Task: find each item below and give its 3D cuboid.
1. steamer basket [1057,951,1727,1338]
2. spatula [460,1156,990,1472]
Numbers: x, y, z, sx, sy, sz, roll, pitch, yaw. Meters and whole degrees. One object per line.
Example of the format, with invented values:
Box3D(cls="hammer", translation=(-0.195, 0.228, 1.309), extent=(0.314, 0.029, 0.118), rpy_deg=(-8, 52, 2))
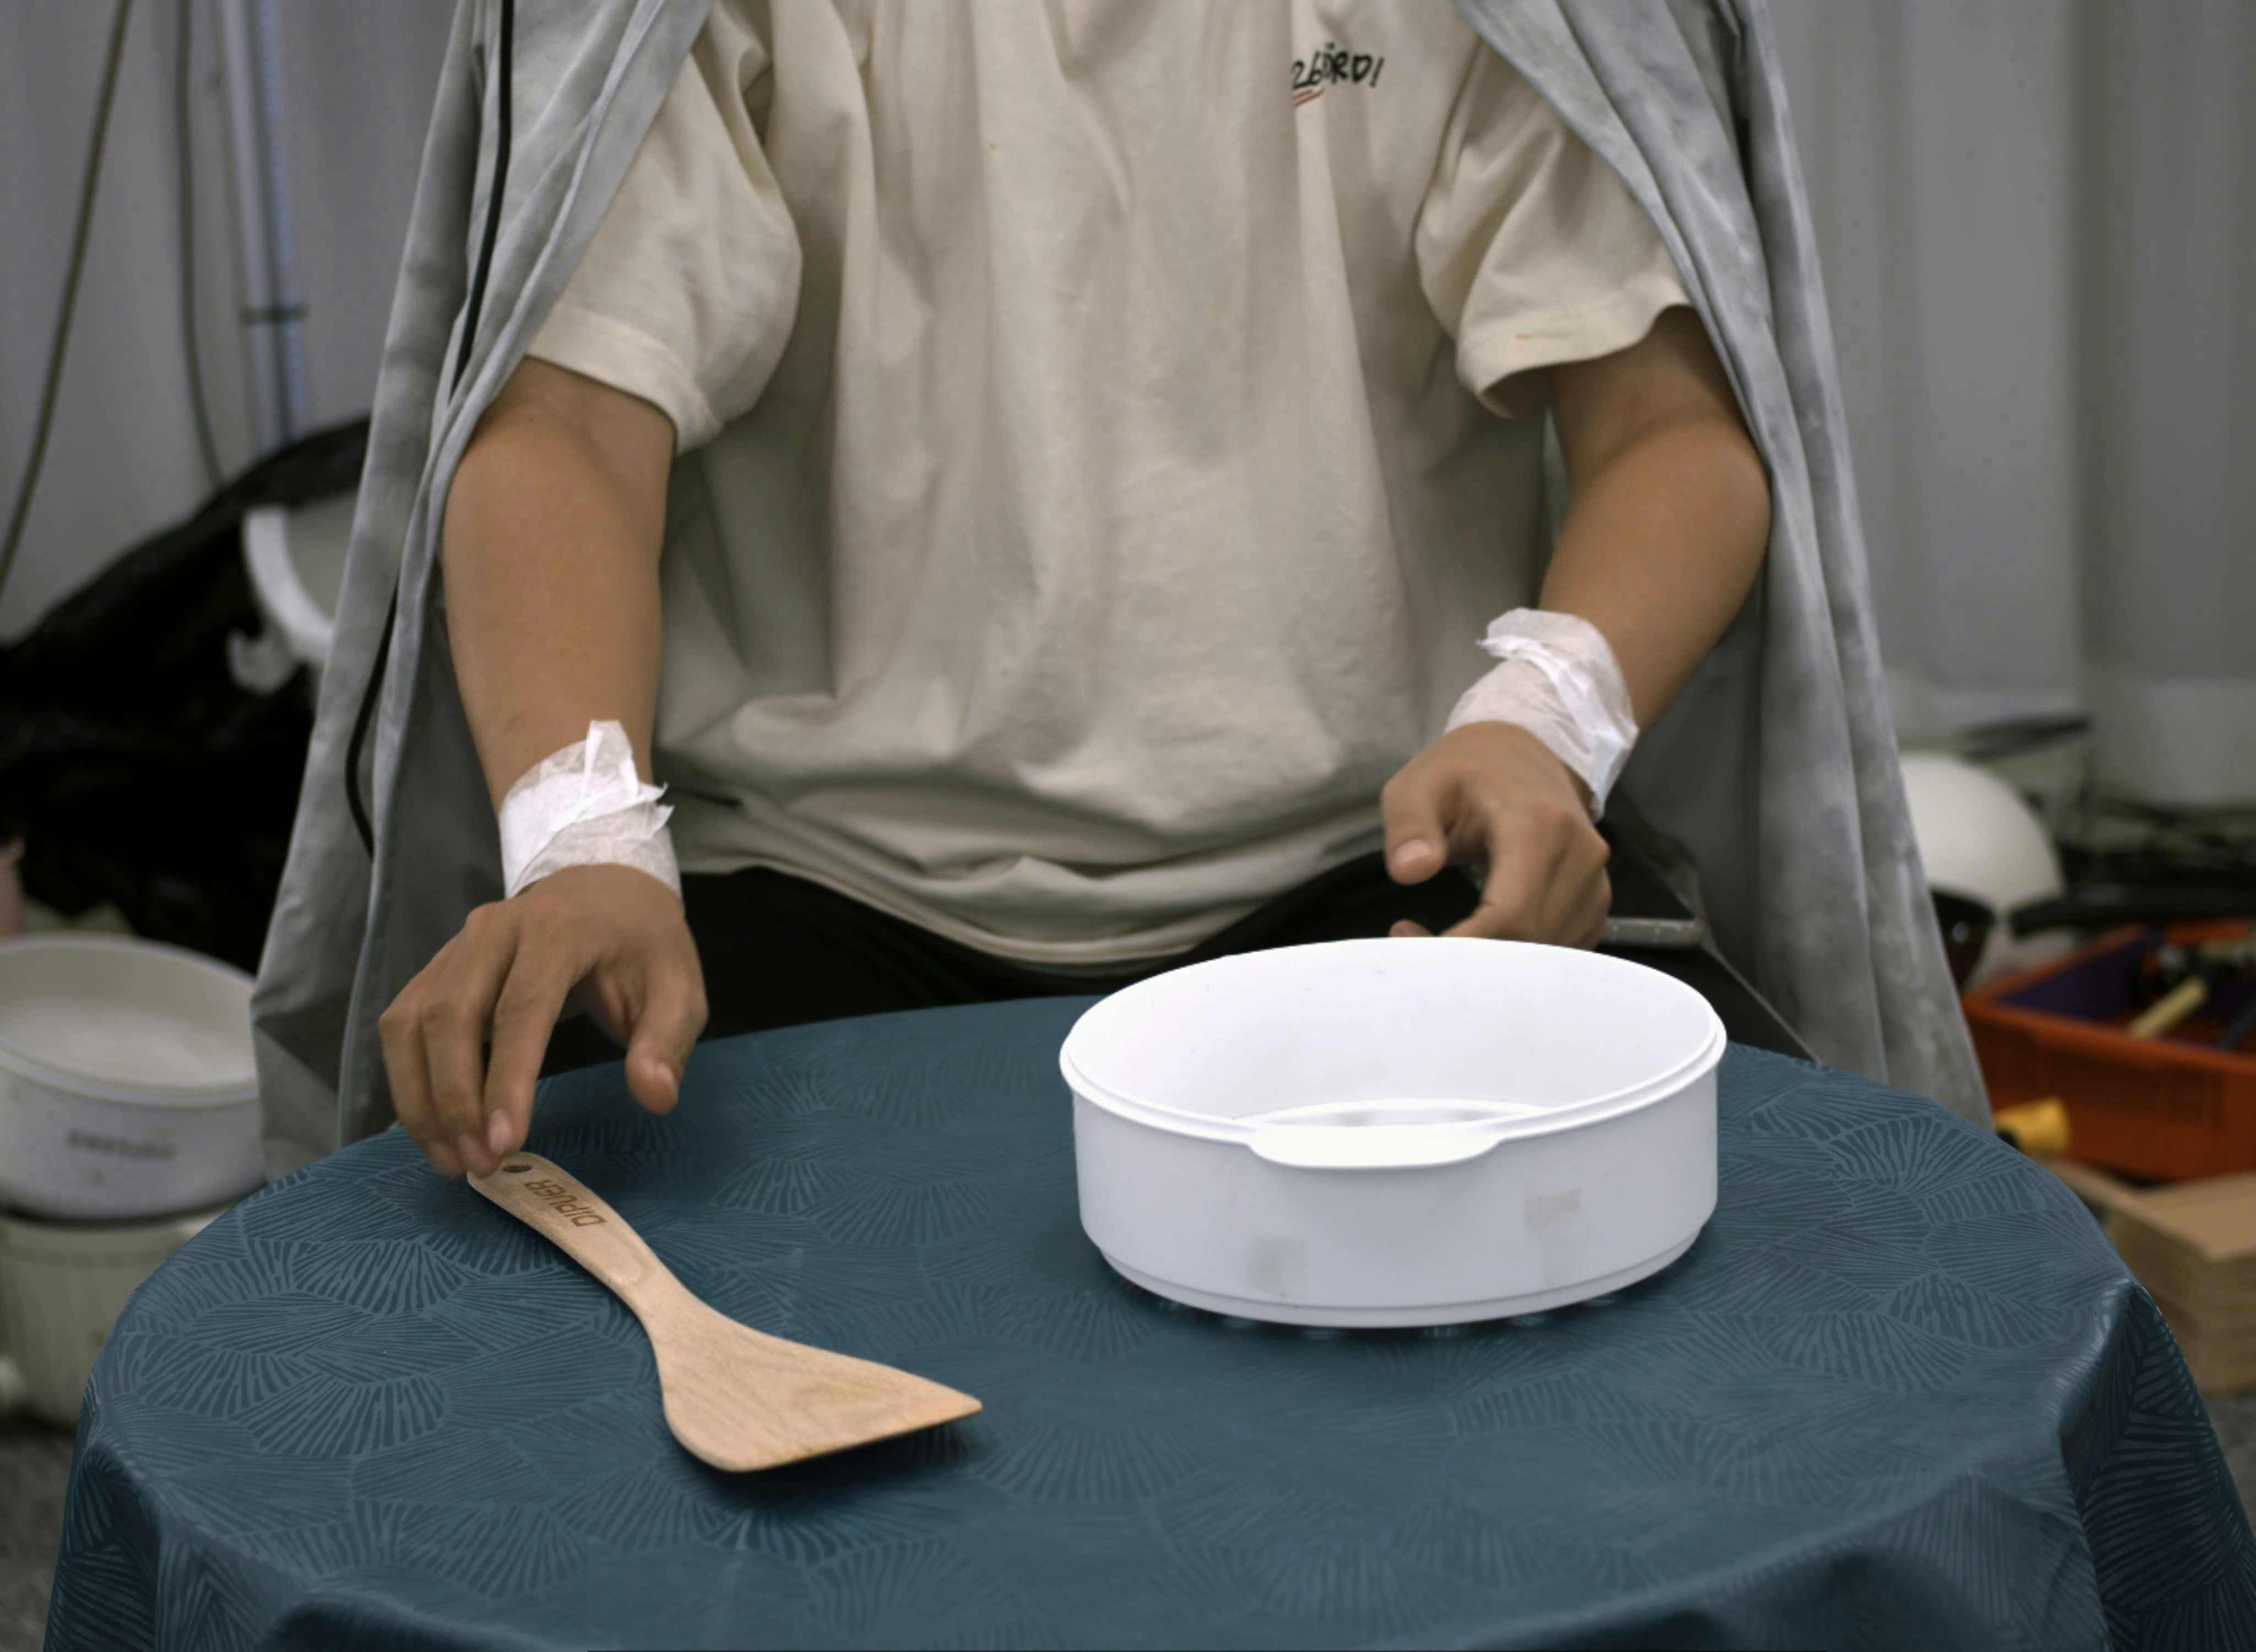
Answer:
Box3D(cls="steamer basket", translation=(0.080, 0.096, 1.651), extent=(0.201, 0.069, 0.232), rpy_deg=(0, 14, 7))
Box3D(cls="spatula", translation=(-0.135, 0.139, 1.619), extent=(0.079, 0.016, 0.330), rpy_deg=(-9, 16, -24))
